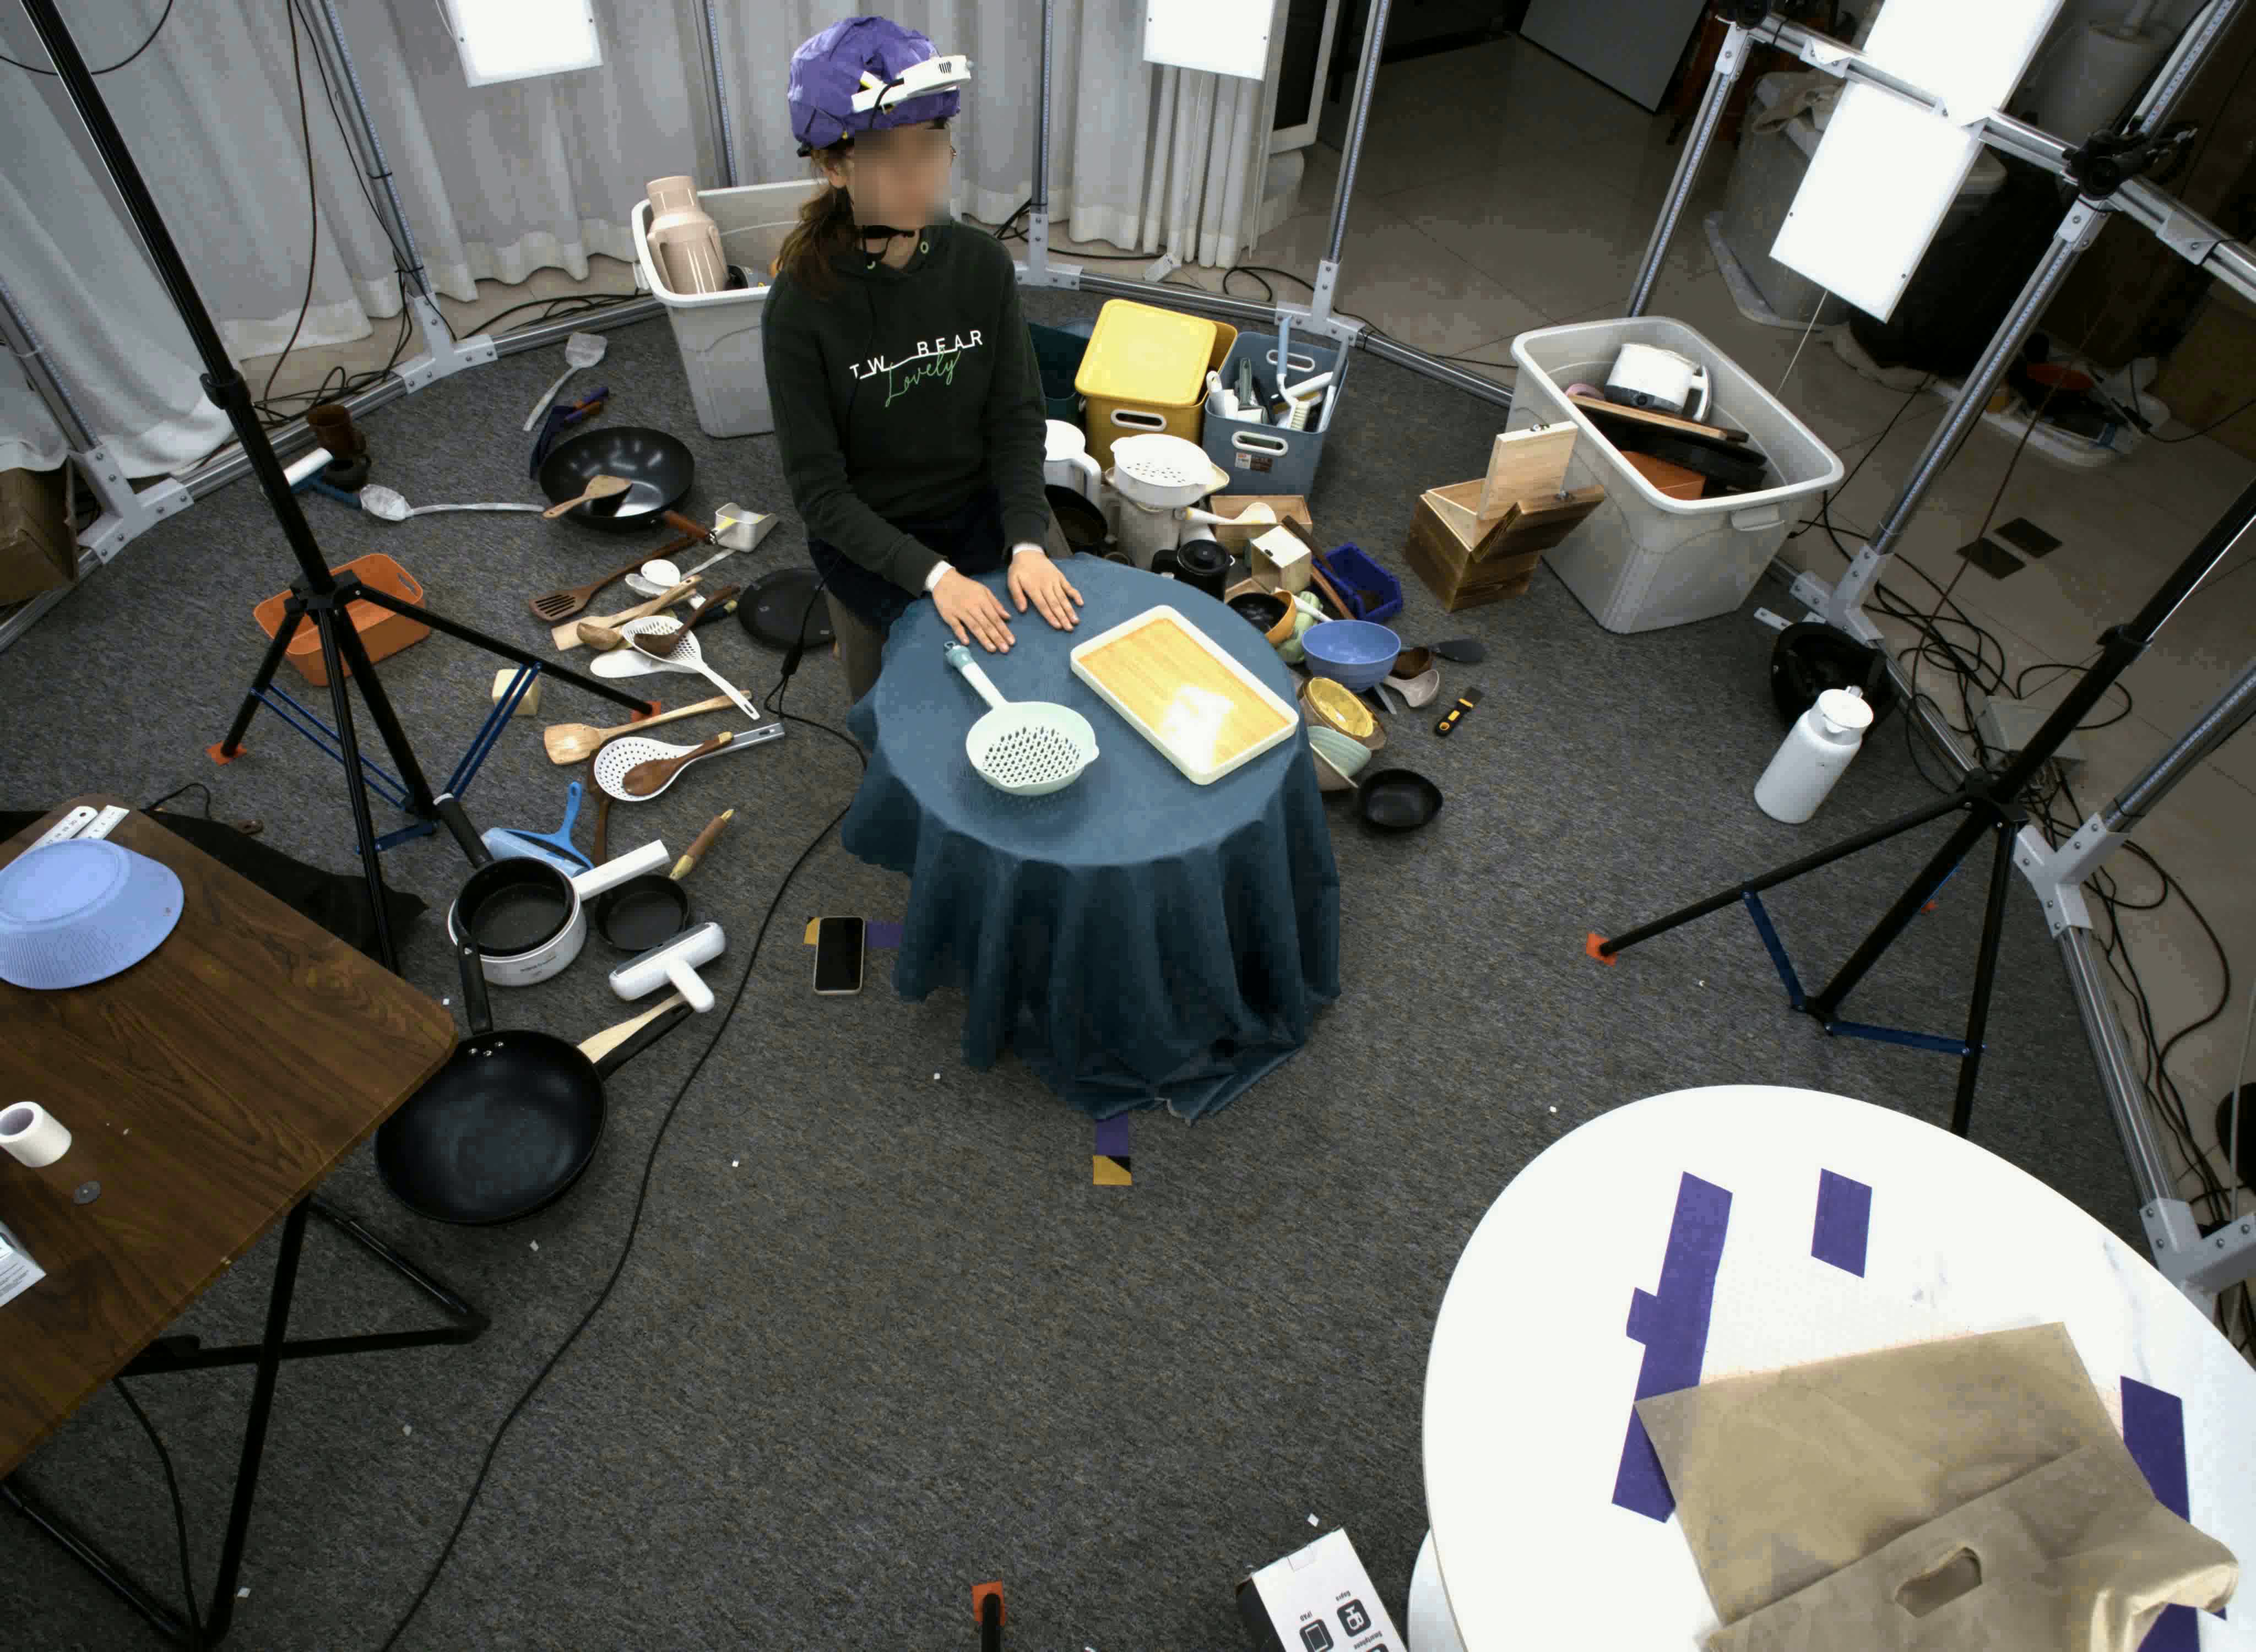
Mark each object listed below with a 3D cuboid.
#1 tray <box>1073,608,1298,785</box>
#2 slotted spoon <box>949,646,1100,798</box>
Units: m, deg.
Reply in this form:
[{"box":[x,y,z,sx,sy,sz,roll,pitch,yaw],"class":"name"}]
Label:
[{"box":[0.079,-0.191,1.839,0.193,0.027,0.305,-29,57,-26],"class":"tray"},{"box":[-0.173,-0.160,1.770,0.170,0.073,0.367,-20,53,-20],"class":"slotted spoon"}]
